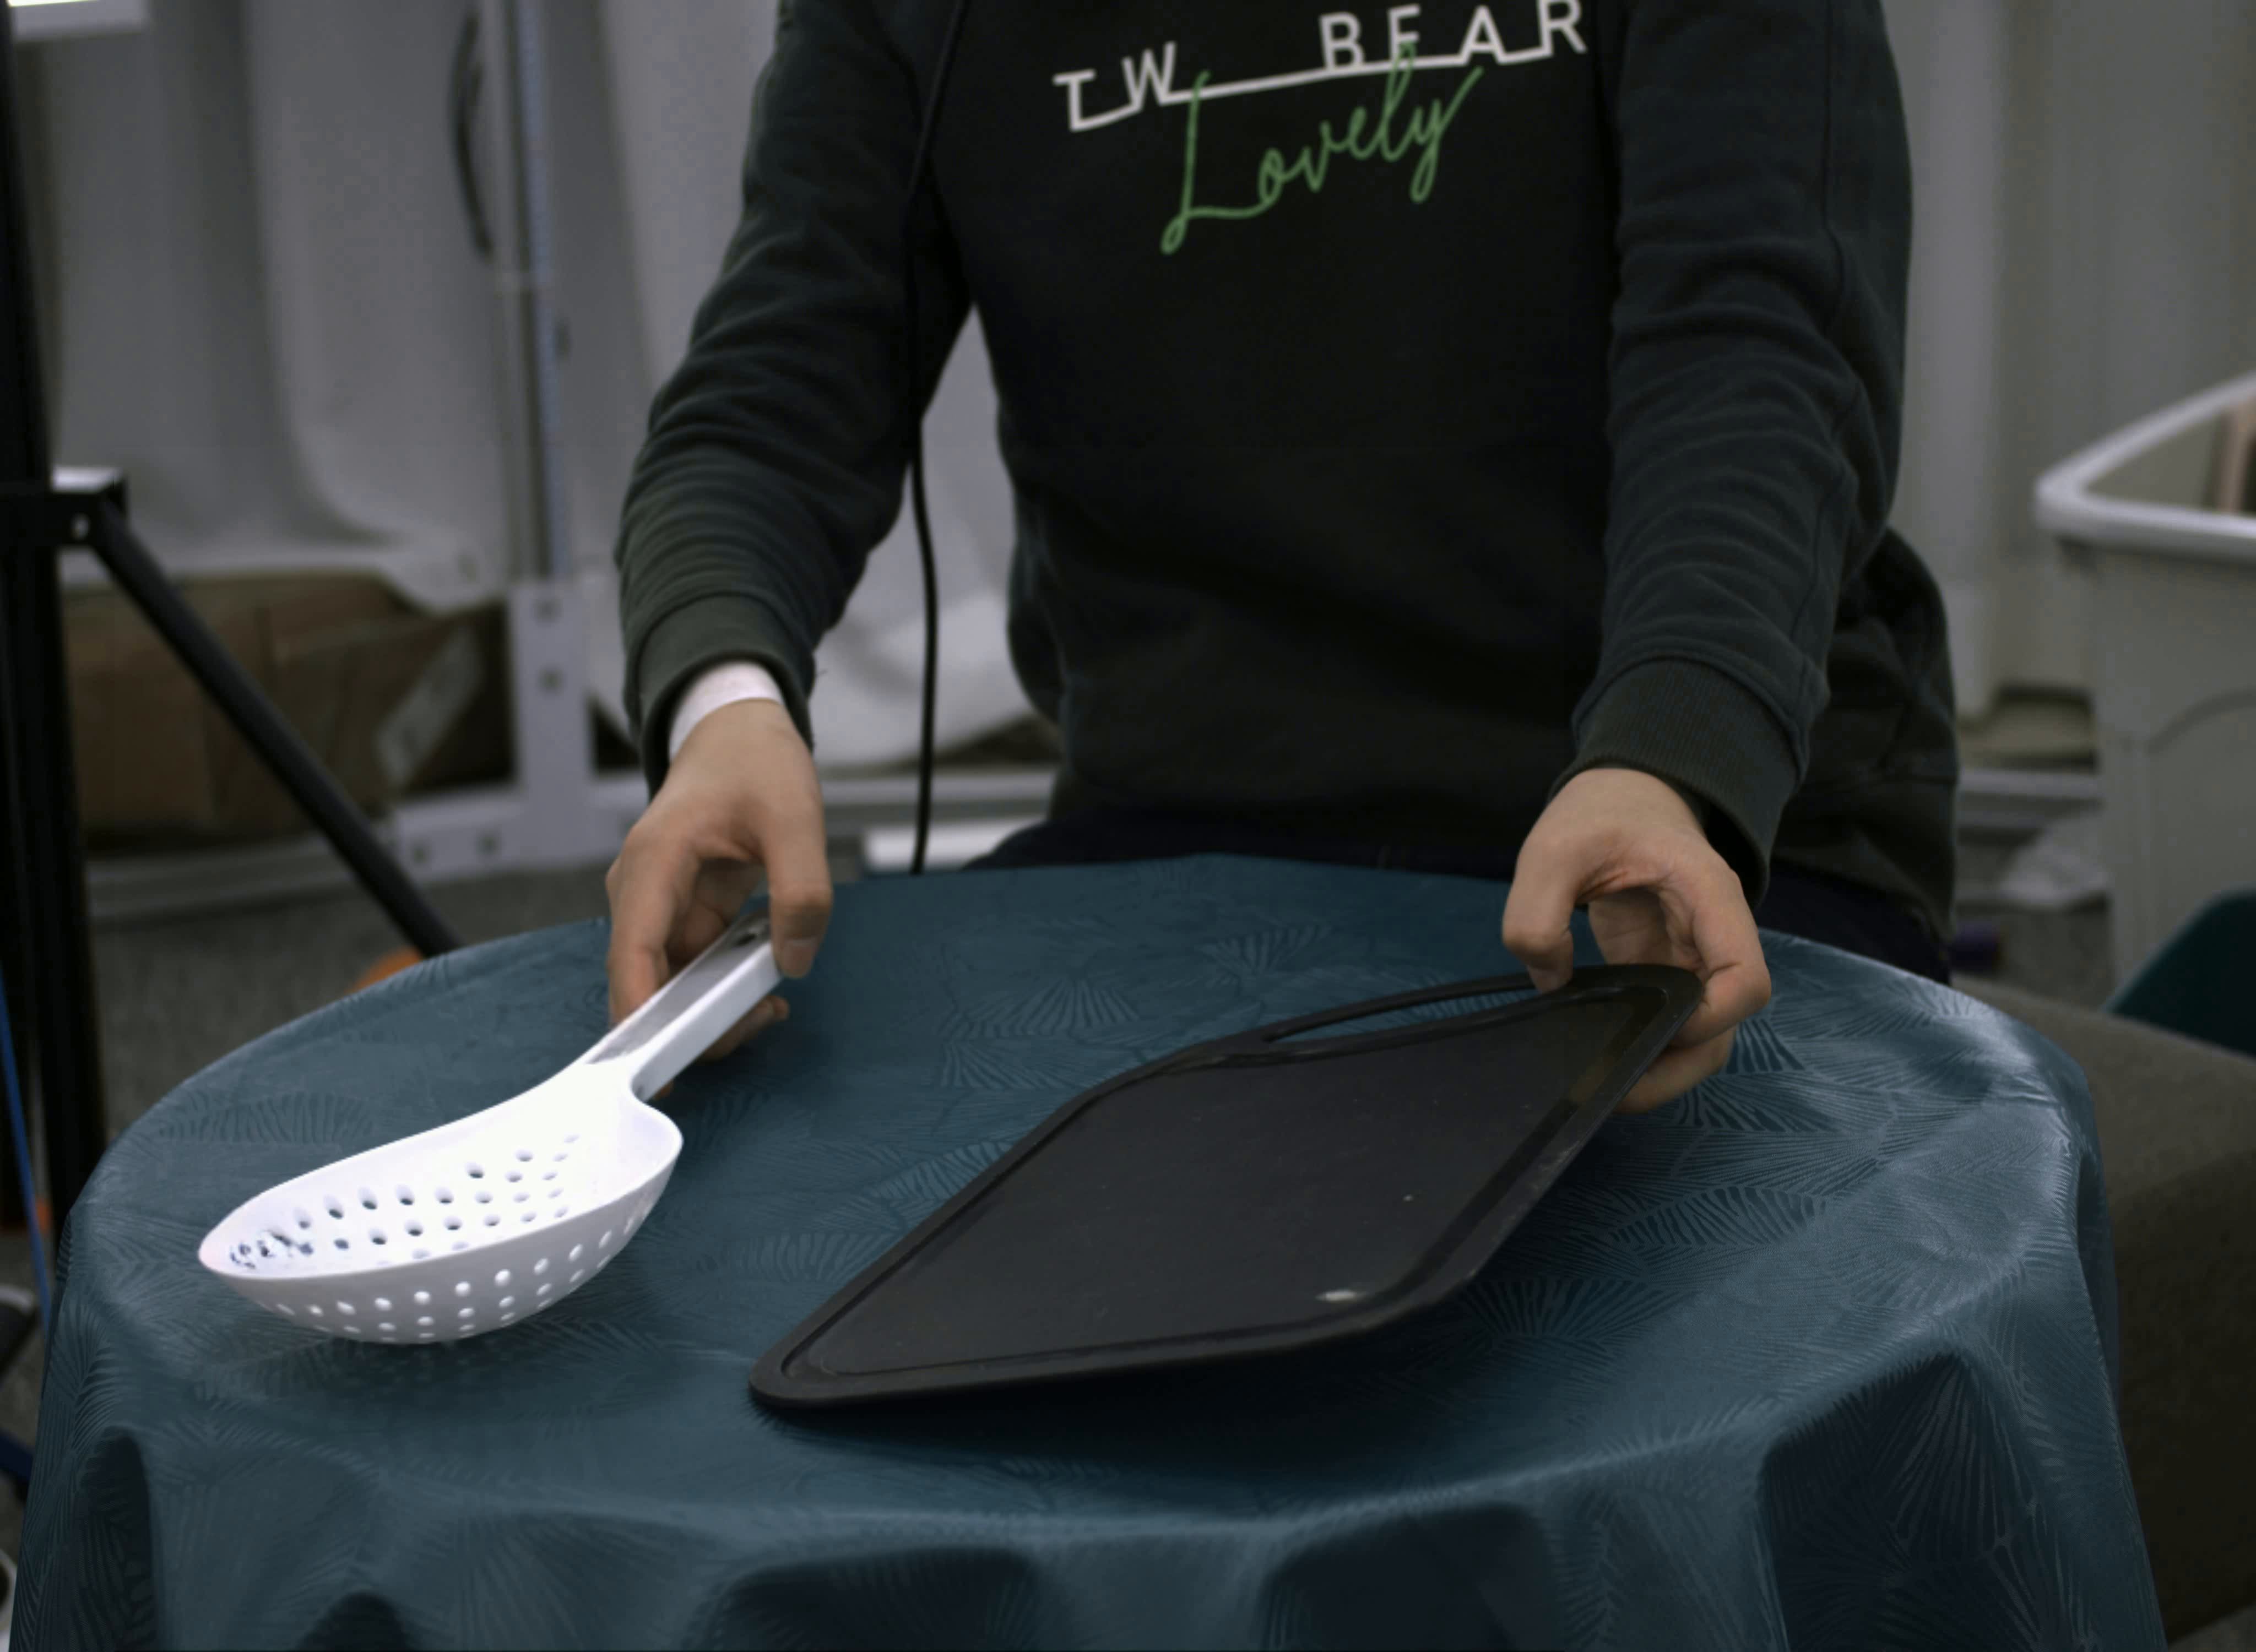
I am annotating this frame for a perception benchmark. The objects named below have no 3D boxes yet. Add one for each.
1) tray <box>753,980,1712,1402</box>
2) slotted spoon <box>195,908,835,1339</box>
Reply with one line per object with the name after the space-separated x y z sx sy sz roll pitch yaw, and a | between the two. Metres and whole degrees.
0.038 0.096 1.495 0.214 0.010 0.321 -9 12 25 | tray
-0.157 0.079 1.569 0.137 0.045 0.347 -7 18 19 | slotted spoon
